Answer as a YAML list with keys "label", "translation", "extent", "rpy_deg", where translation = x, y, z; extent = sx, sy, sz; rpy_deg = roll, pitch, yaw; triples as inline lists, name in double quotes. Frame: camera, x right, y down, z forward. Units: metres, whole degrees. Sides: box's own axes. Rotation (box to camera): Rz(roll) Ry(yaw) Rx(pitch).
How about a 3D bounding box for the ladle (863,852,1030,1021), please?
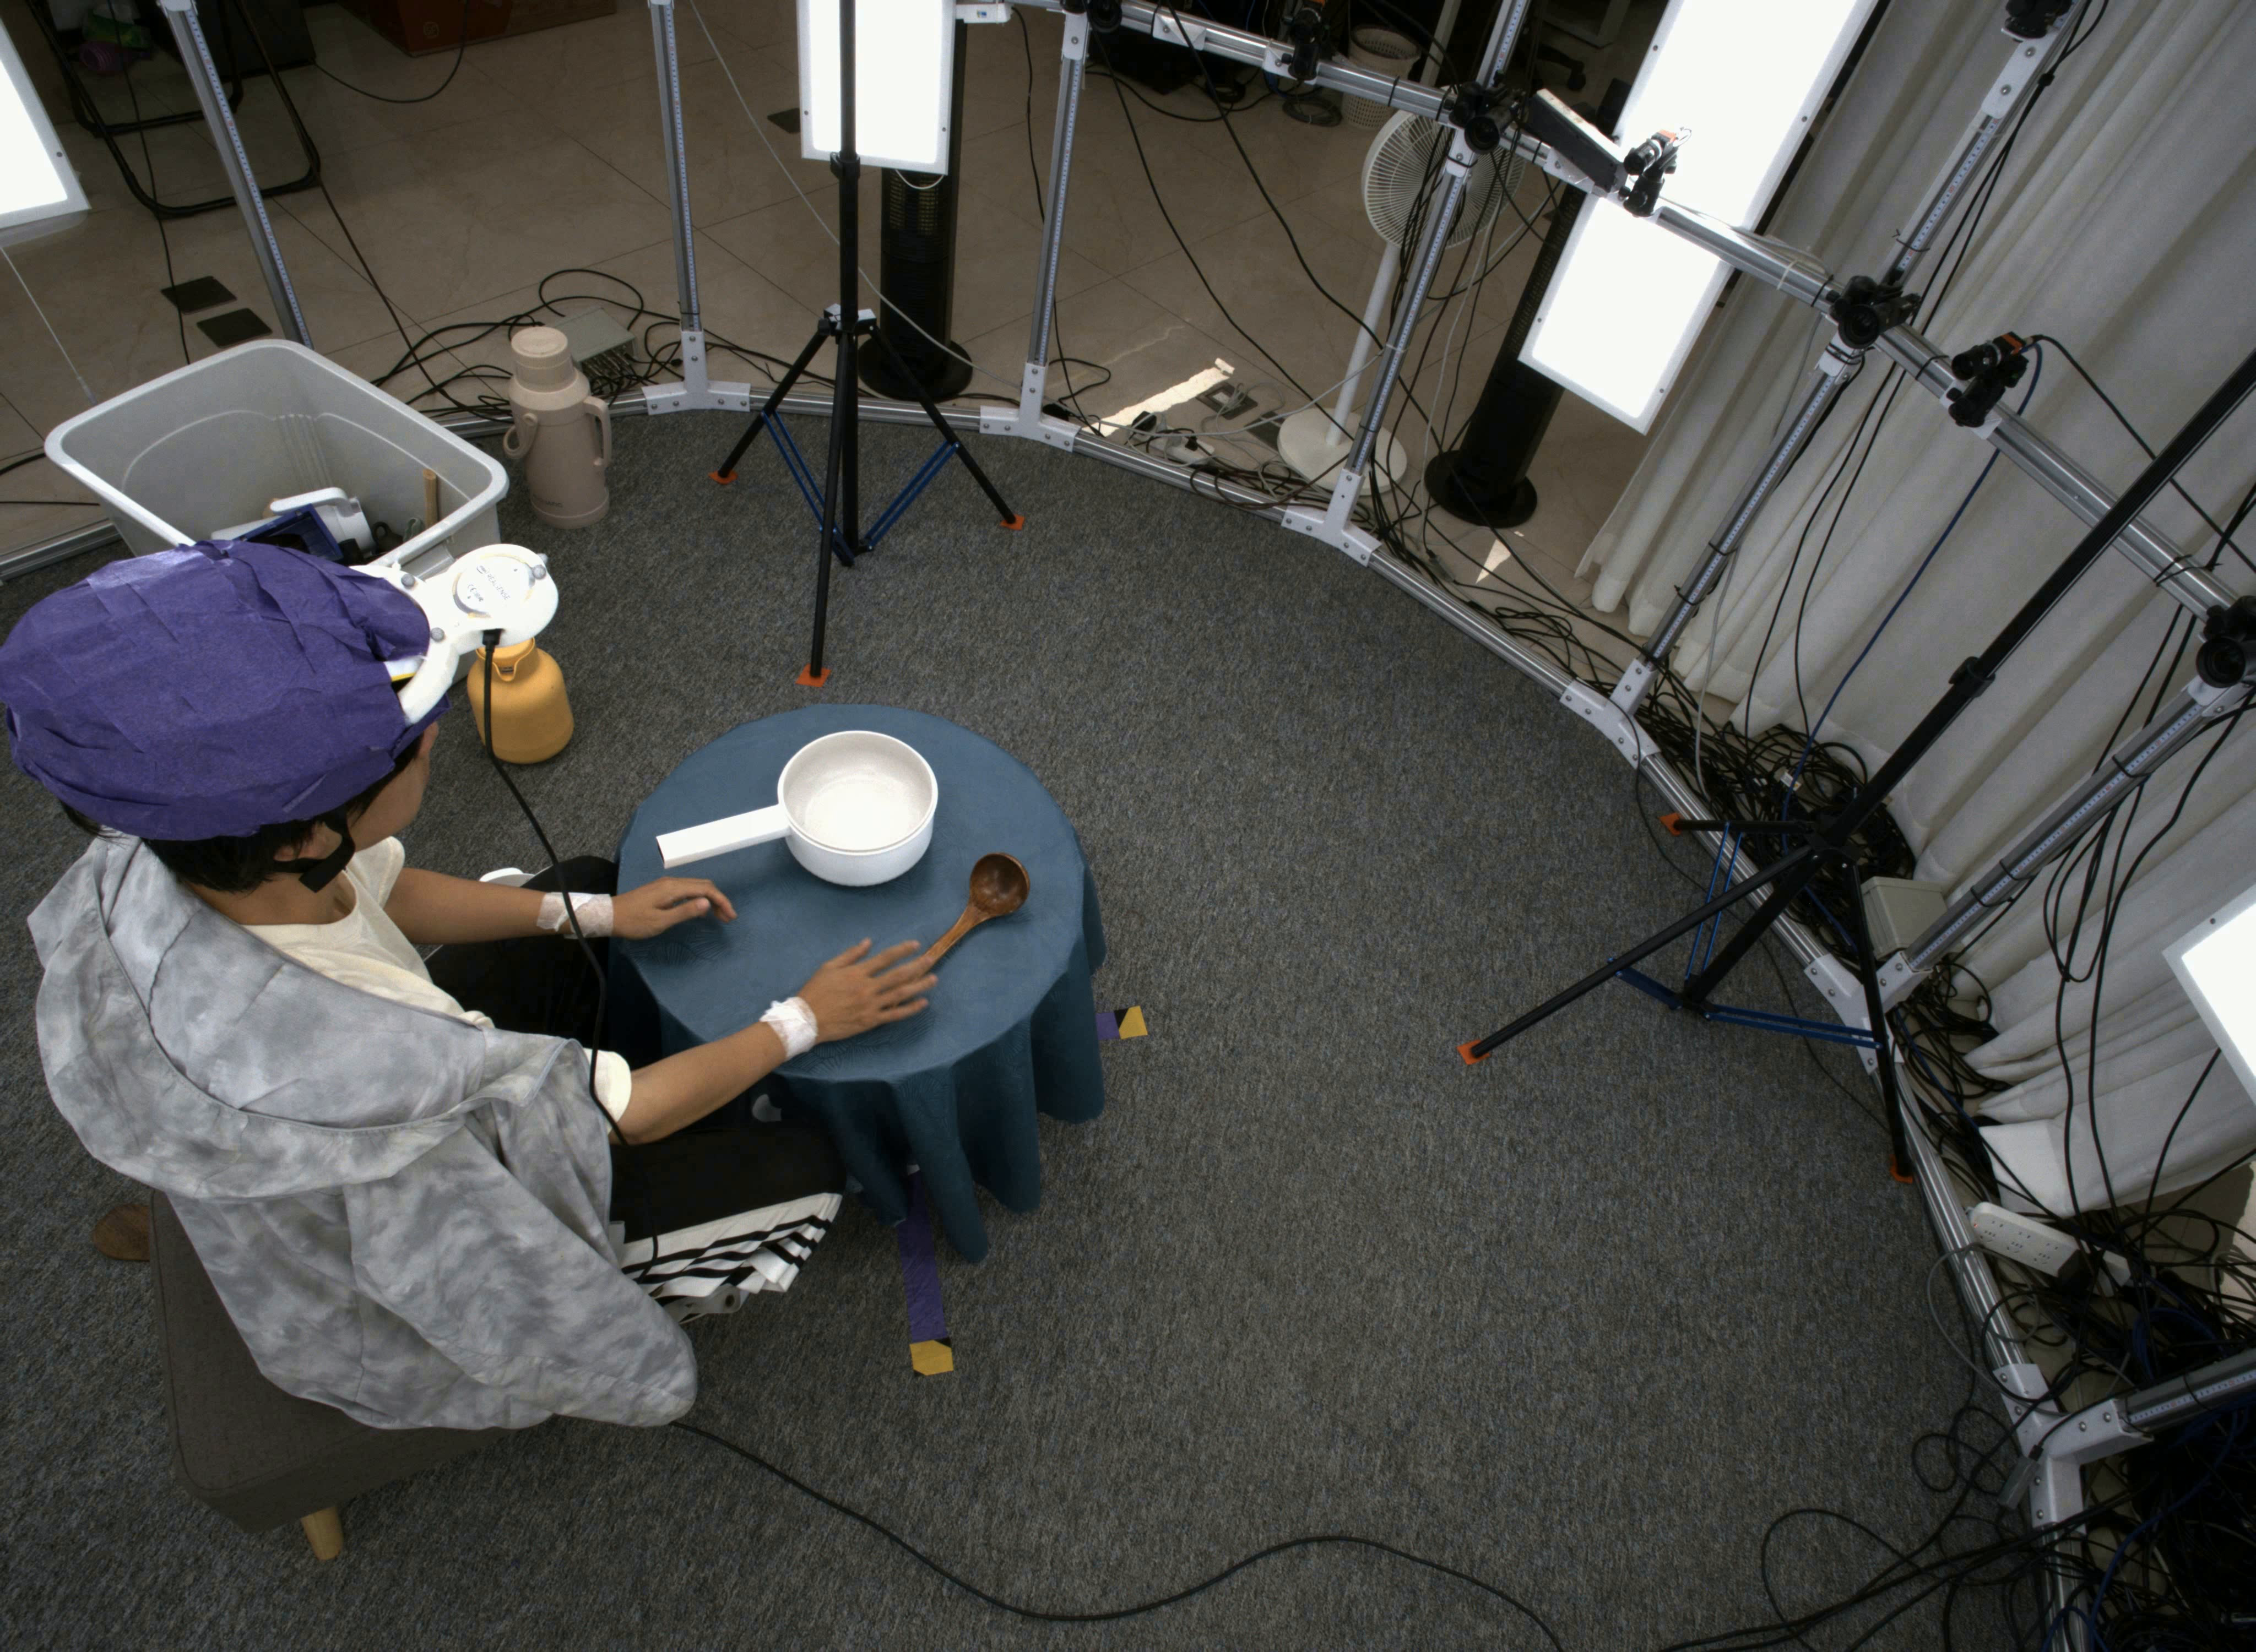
- label: "ladle"
  translation: [-0.225, 0.134, 1.625]
  extent: [0.080, 0.078, 0.274]
  rpy_deg: [37, 53, 13]

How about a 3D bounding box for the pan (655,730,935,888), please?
- label: "pan"
  translation: [-0.420, 0.003, 1.661]
  extent: [0.356, 0.104, 0.196]
  rpy_deg: [-17, 60, -24]
